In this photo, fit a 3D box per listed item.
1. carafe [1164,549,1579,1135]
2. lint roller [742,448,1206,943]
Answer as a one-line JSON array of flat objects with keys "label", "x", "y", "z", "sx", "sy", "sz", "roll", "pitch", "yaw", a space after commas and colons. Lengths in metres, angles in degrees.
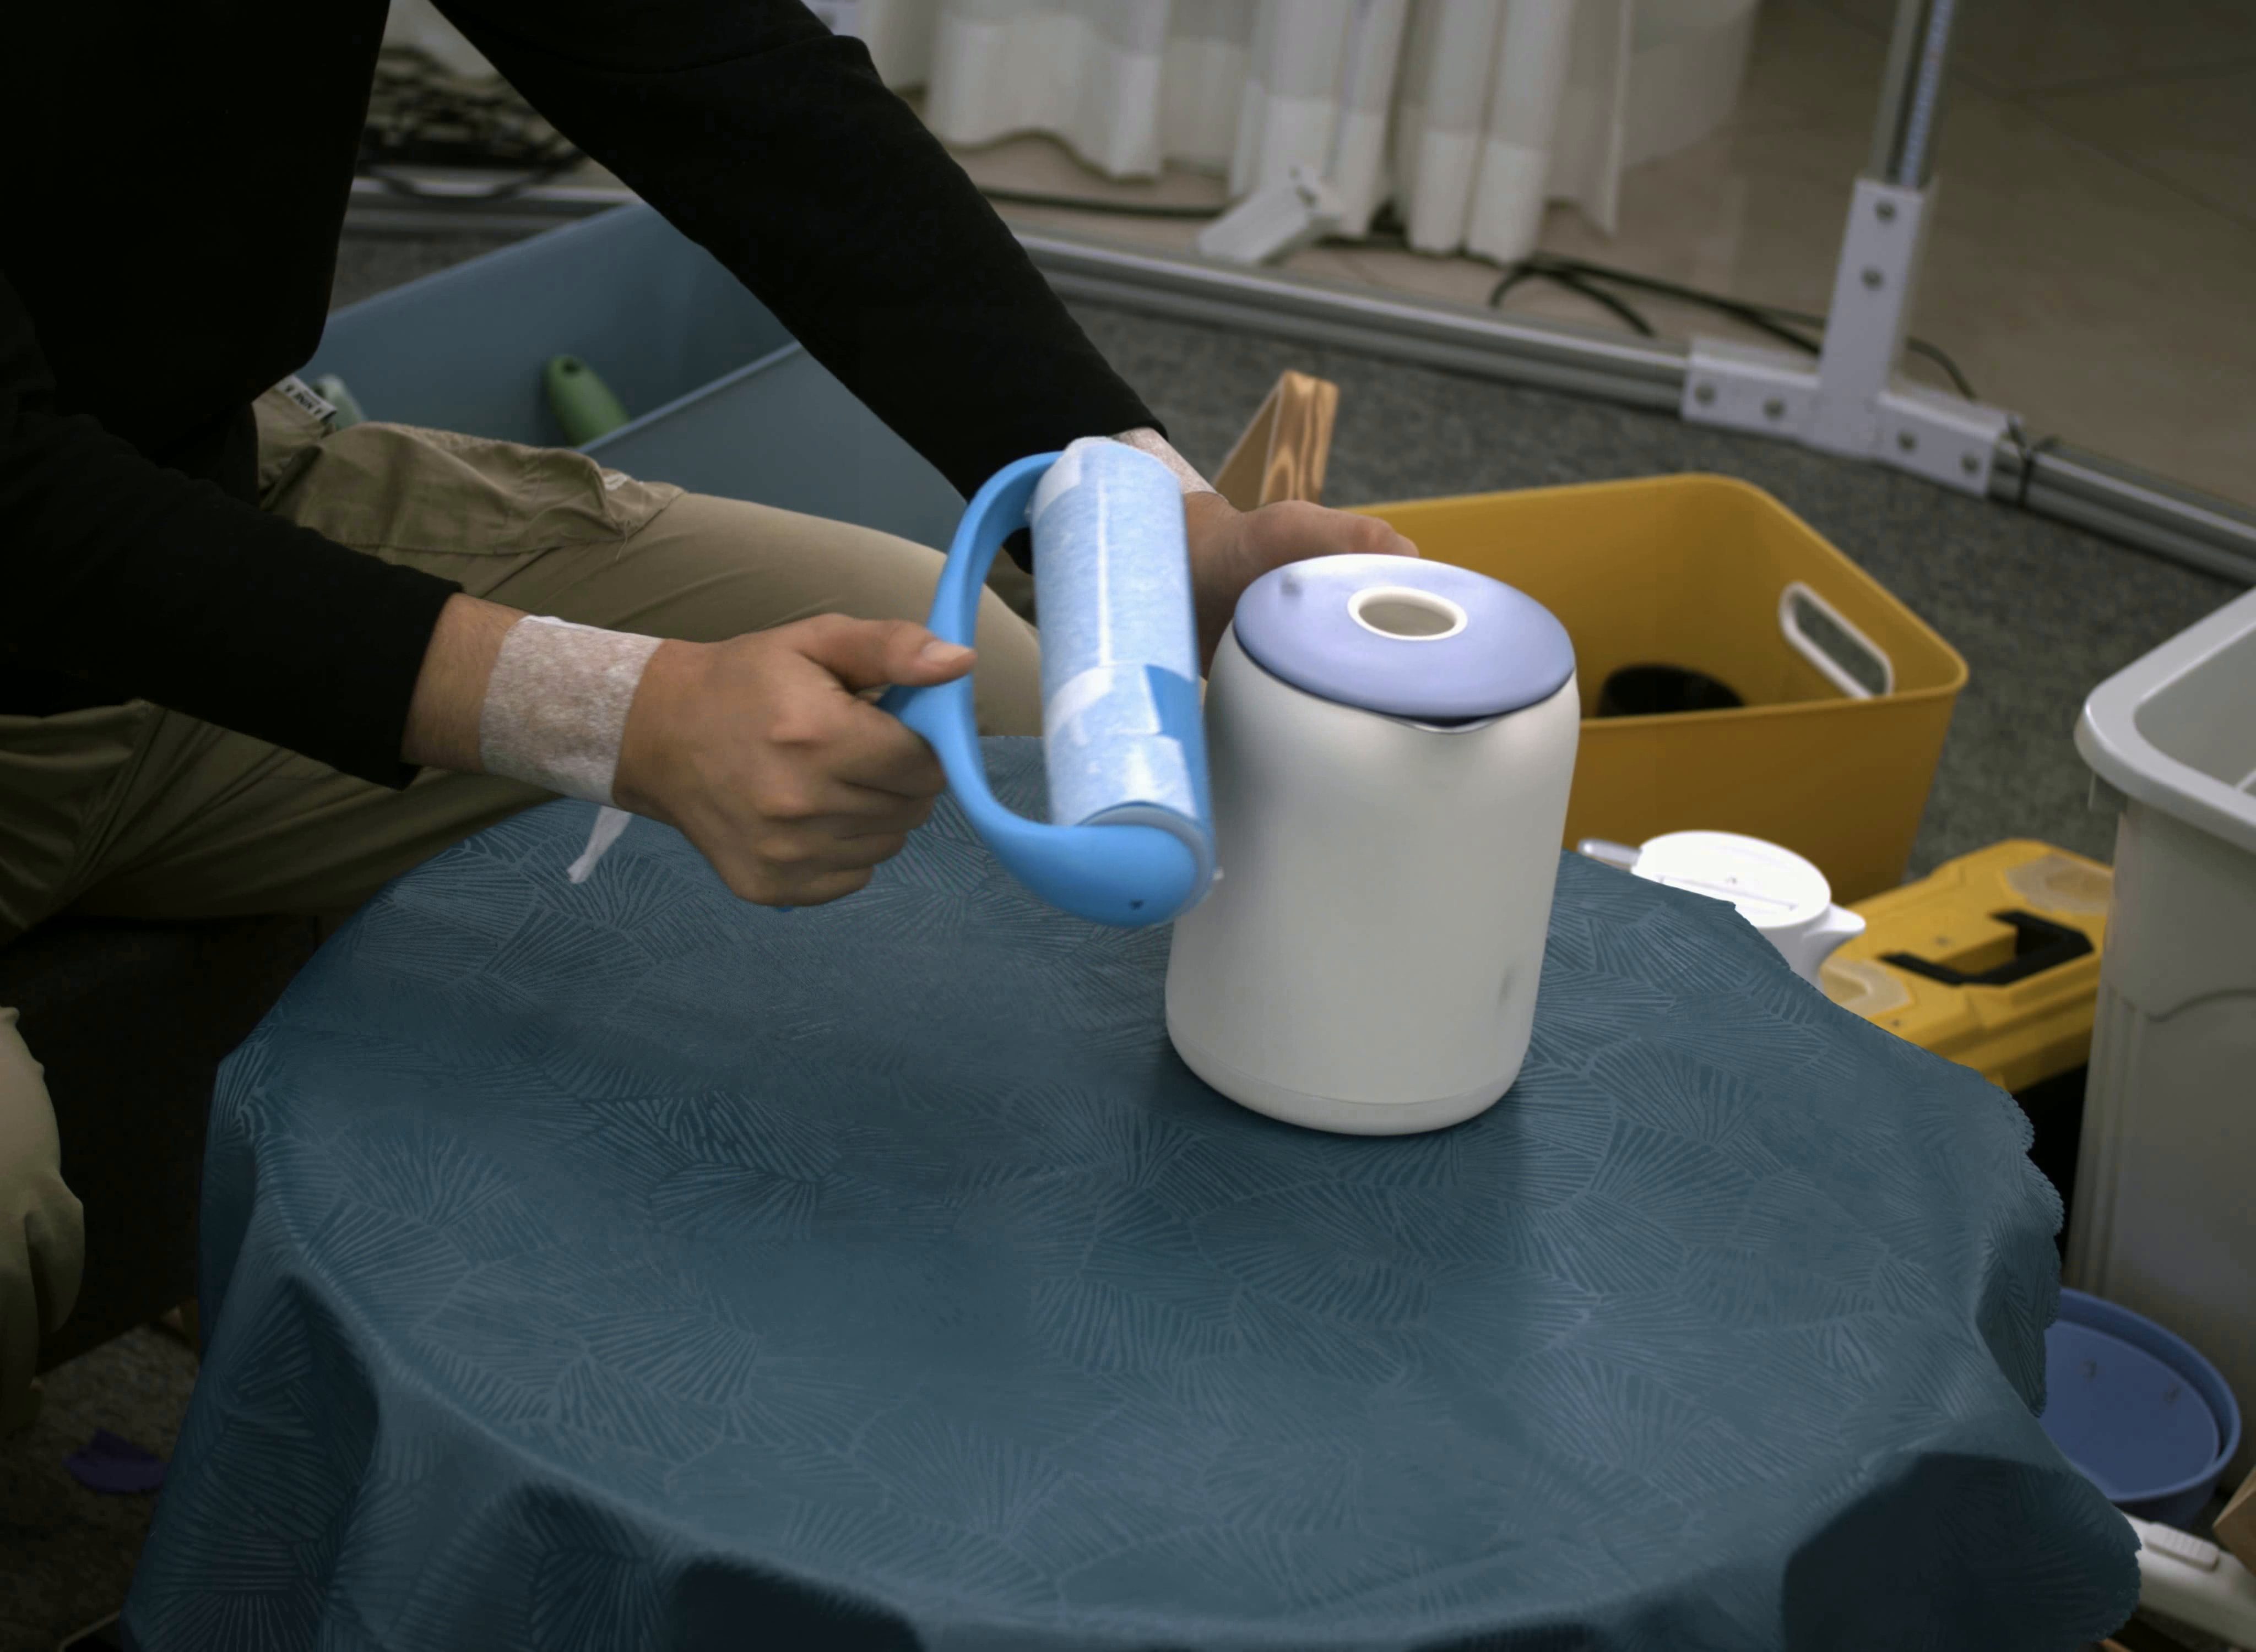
[{"label": "carafe", "x": 0.080, "y": -0.006, "z": 1.885, "sx": 0.131, "sy": 0.182, "sz": 0.192, "roll": 0, "pitch": 26, "yaw": -15}, {"label": "lint roller", "x": -0.061, "y": -0.027, "z": 1.805, "sx": 0.180, "sy": 0.067, "sz": 0.231, "roll": -20, "pitch": 42, "yaw": 12}]
